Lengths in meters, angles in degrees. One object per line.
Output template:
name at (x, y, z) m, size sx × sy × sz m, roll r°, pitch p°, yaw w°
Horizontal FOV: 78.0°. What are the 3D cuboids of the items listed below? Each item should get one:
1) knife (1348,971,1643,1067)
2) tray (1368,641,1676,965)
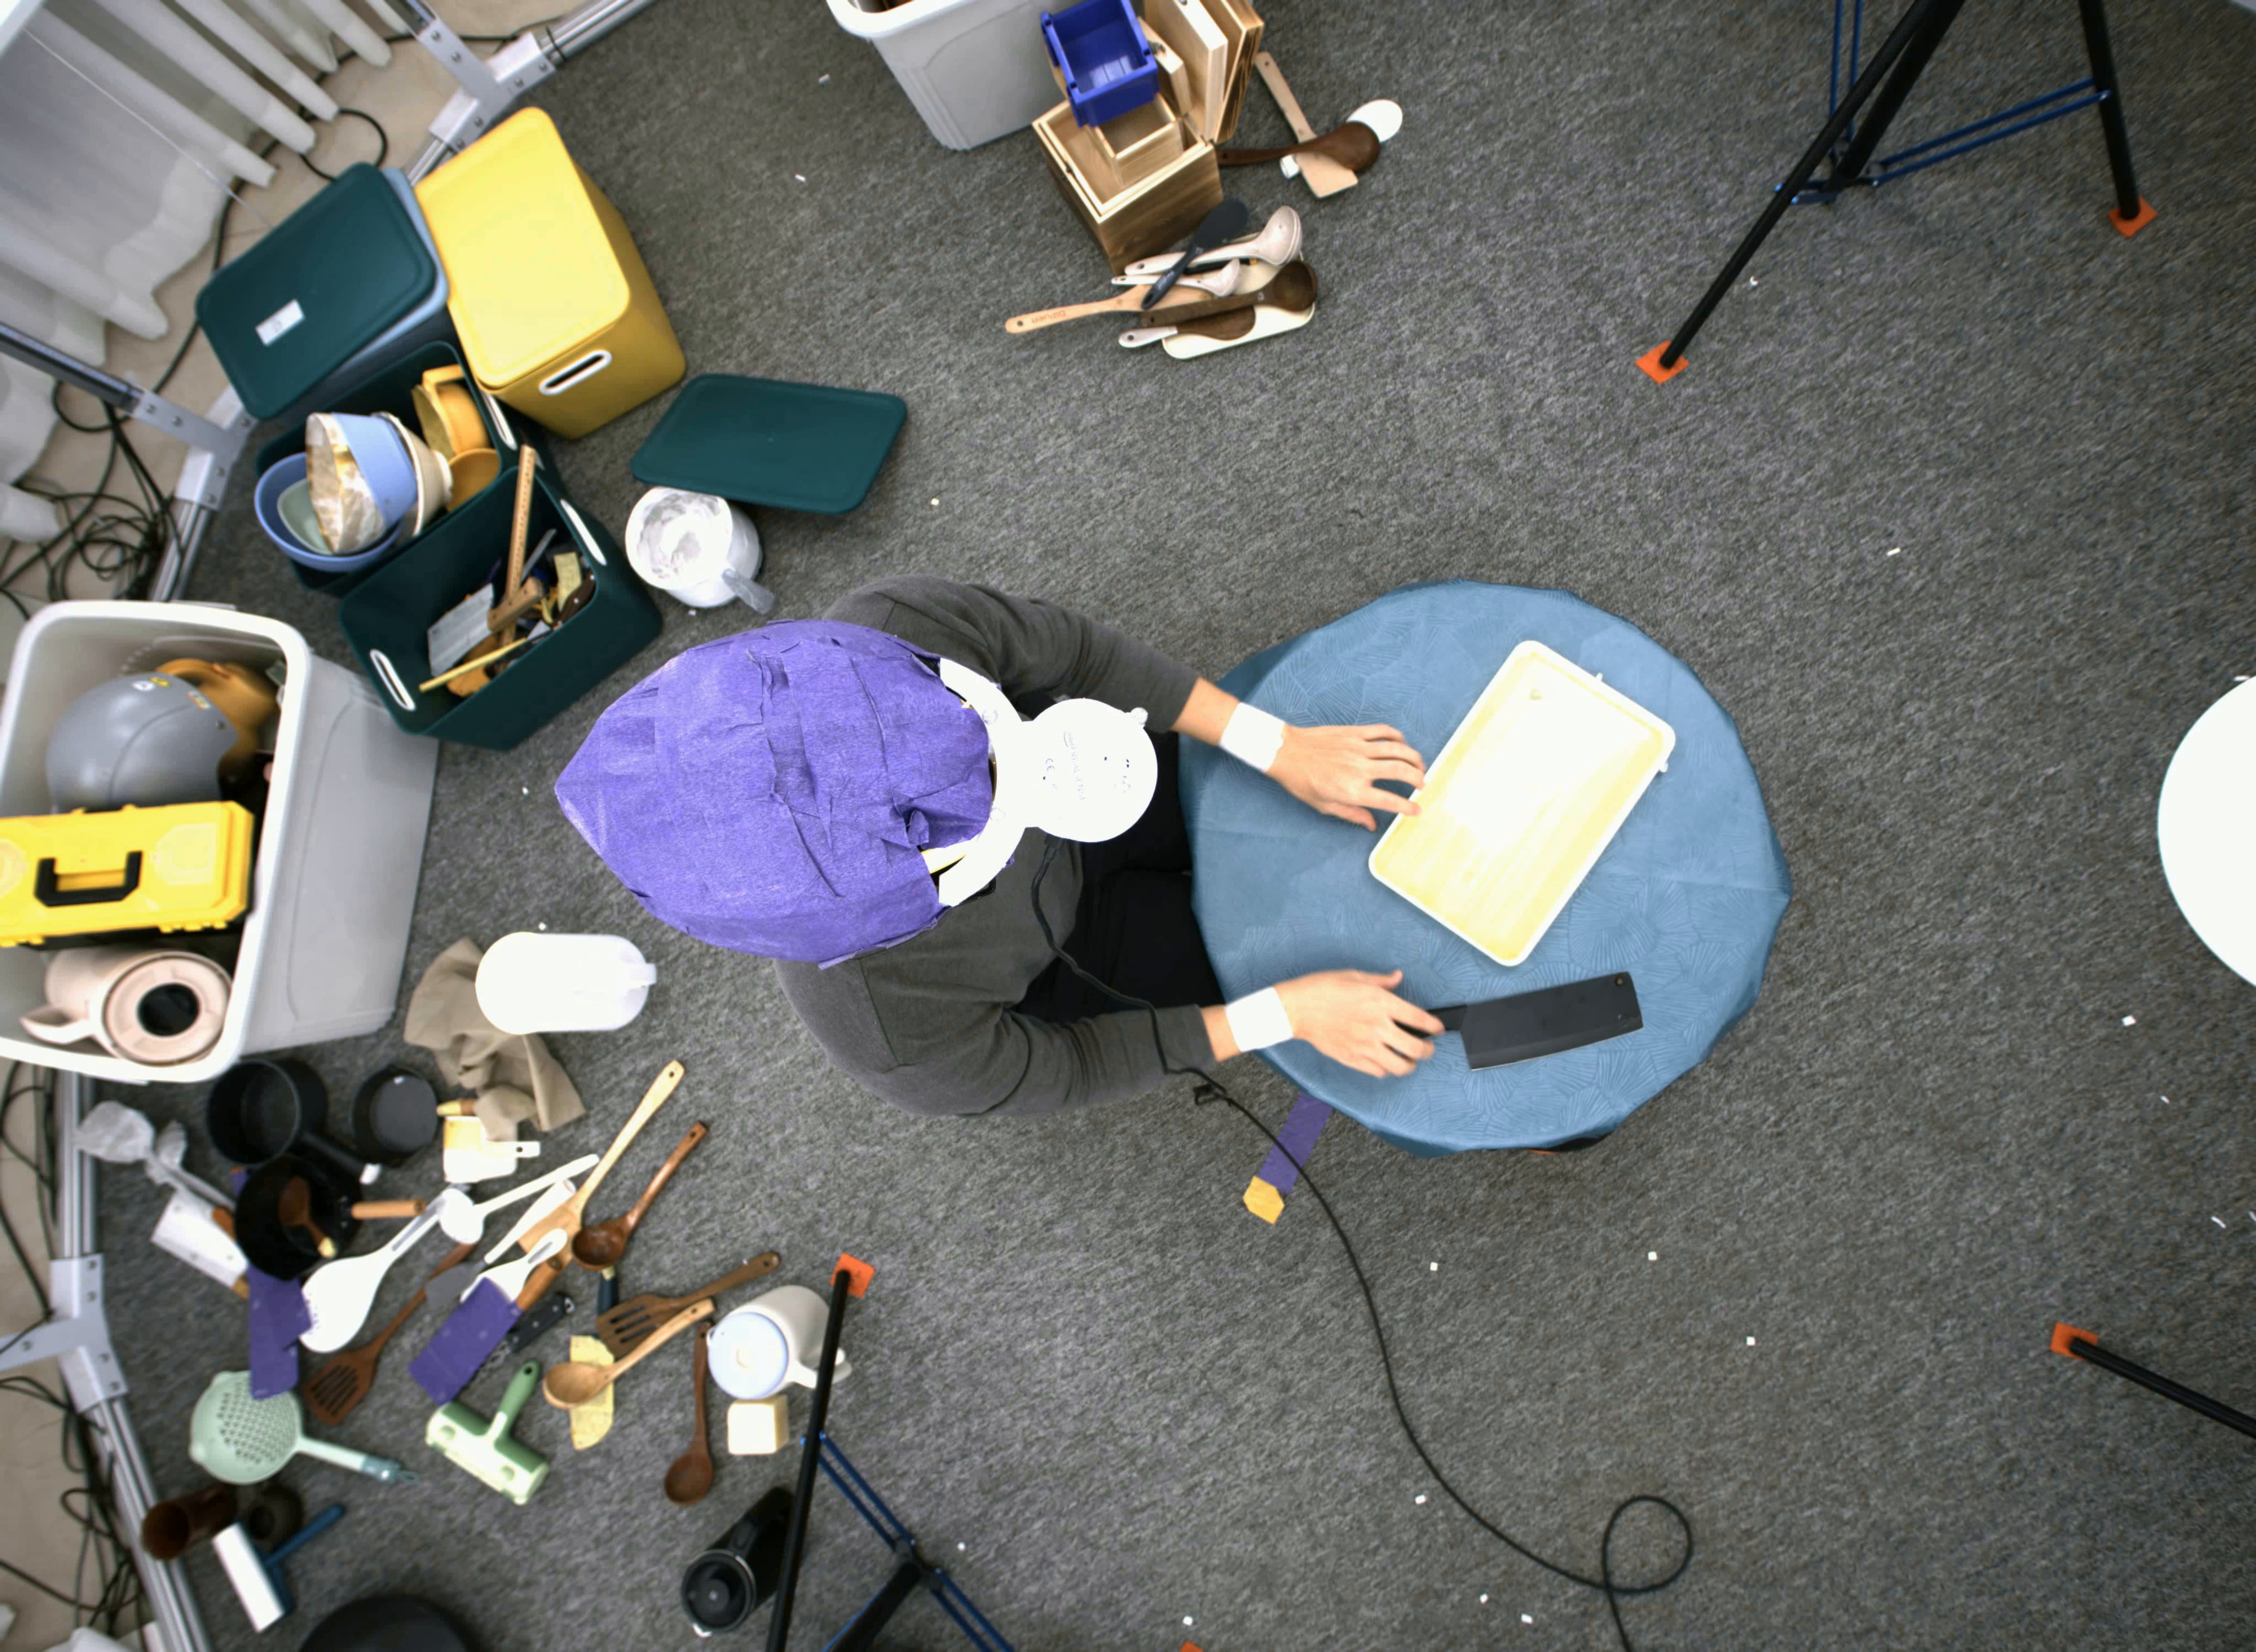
knife at (0.377, 0.207, 1.426) m, size 0.304 × 0.021 × 0.080 m, roll -9°, pitch 86°, yaw 8°
tray at (0.406, -0.027, 1.426) m, size 0.191 × 0.027 × 0.301 m, roll 36°, pitch 94°, yaw 11°
